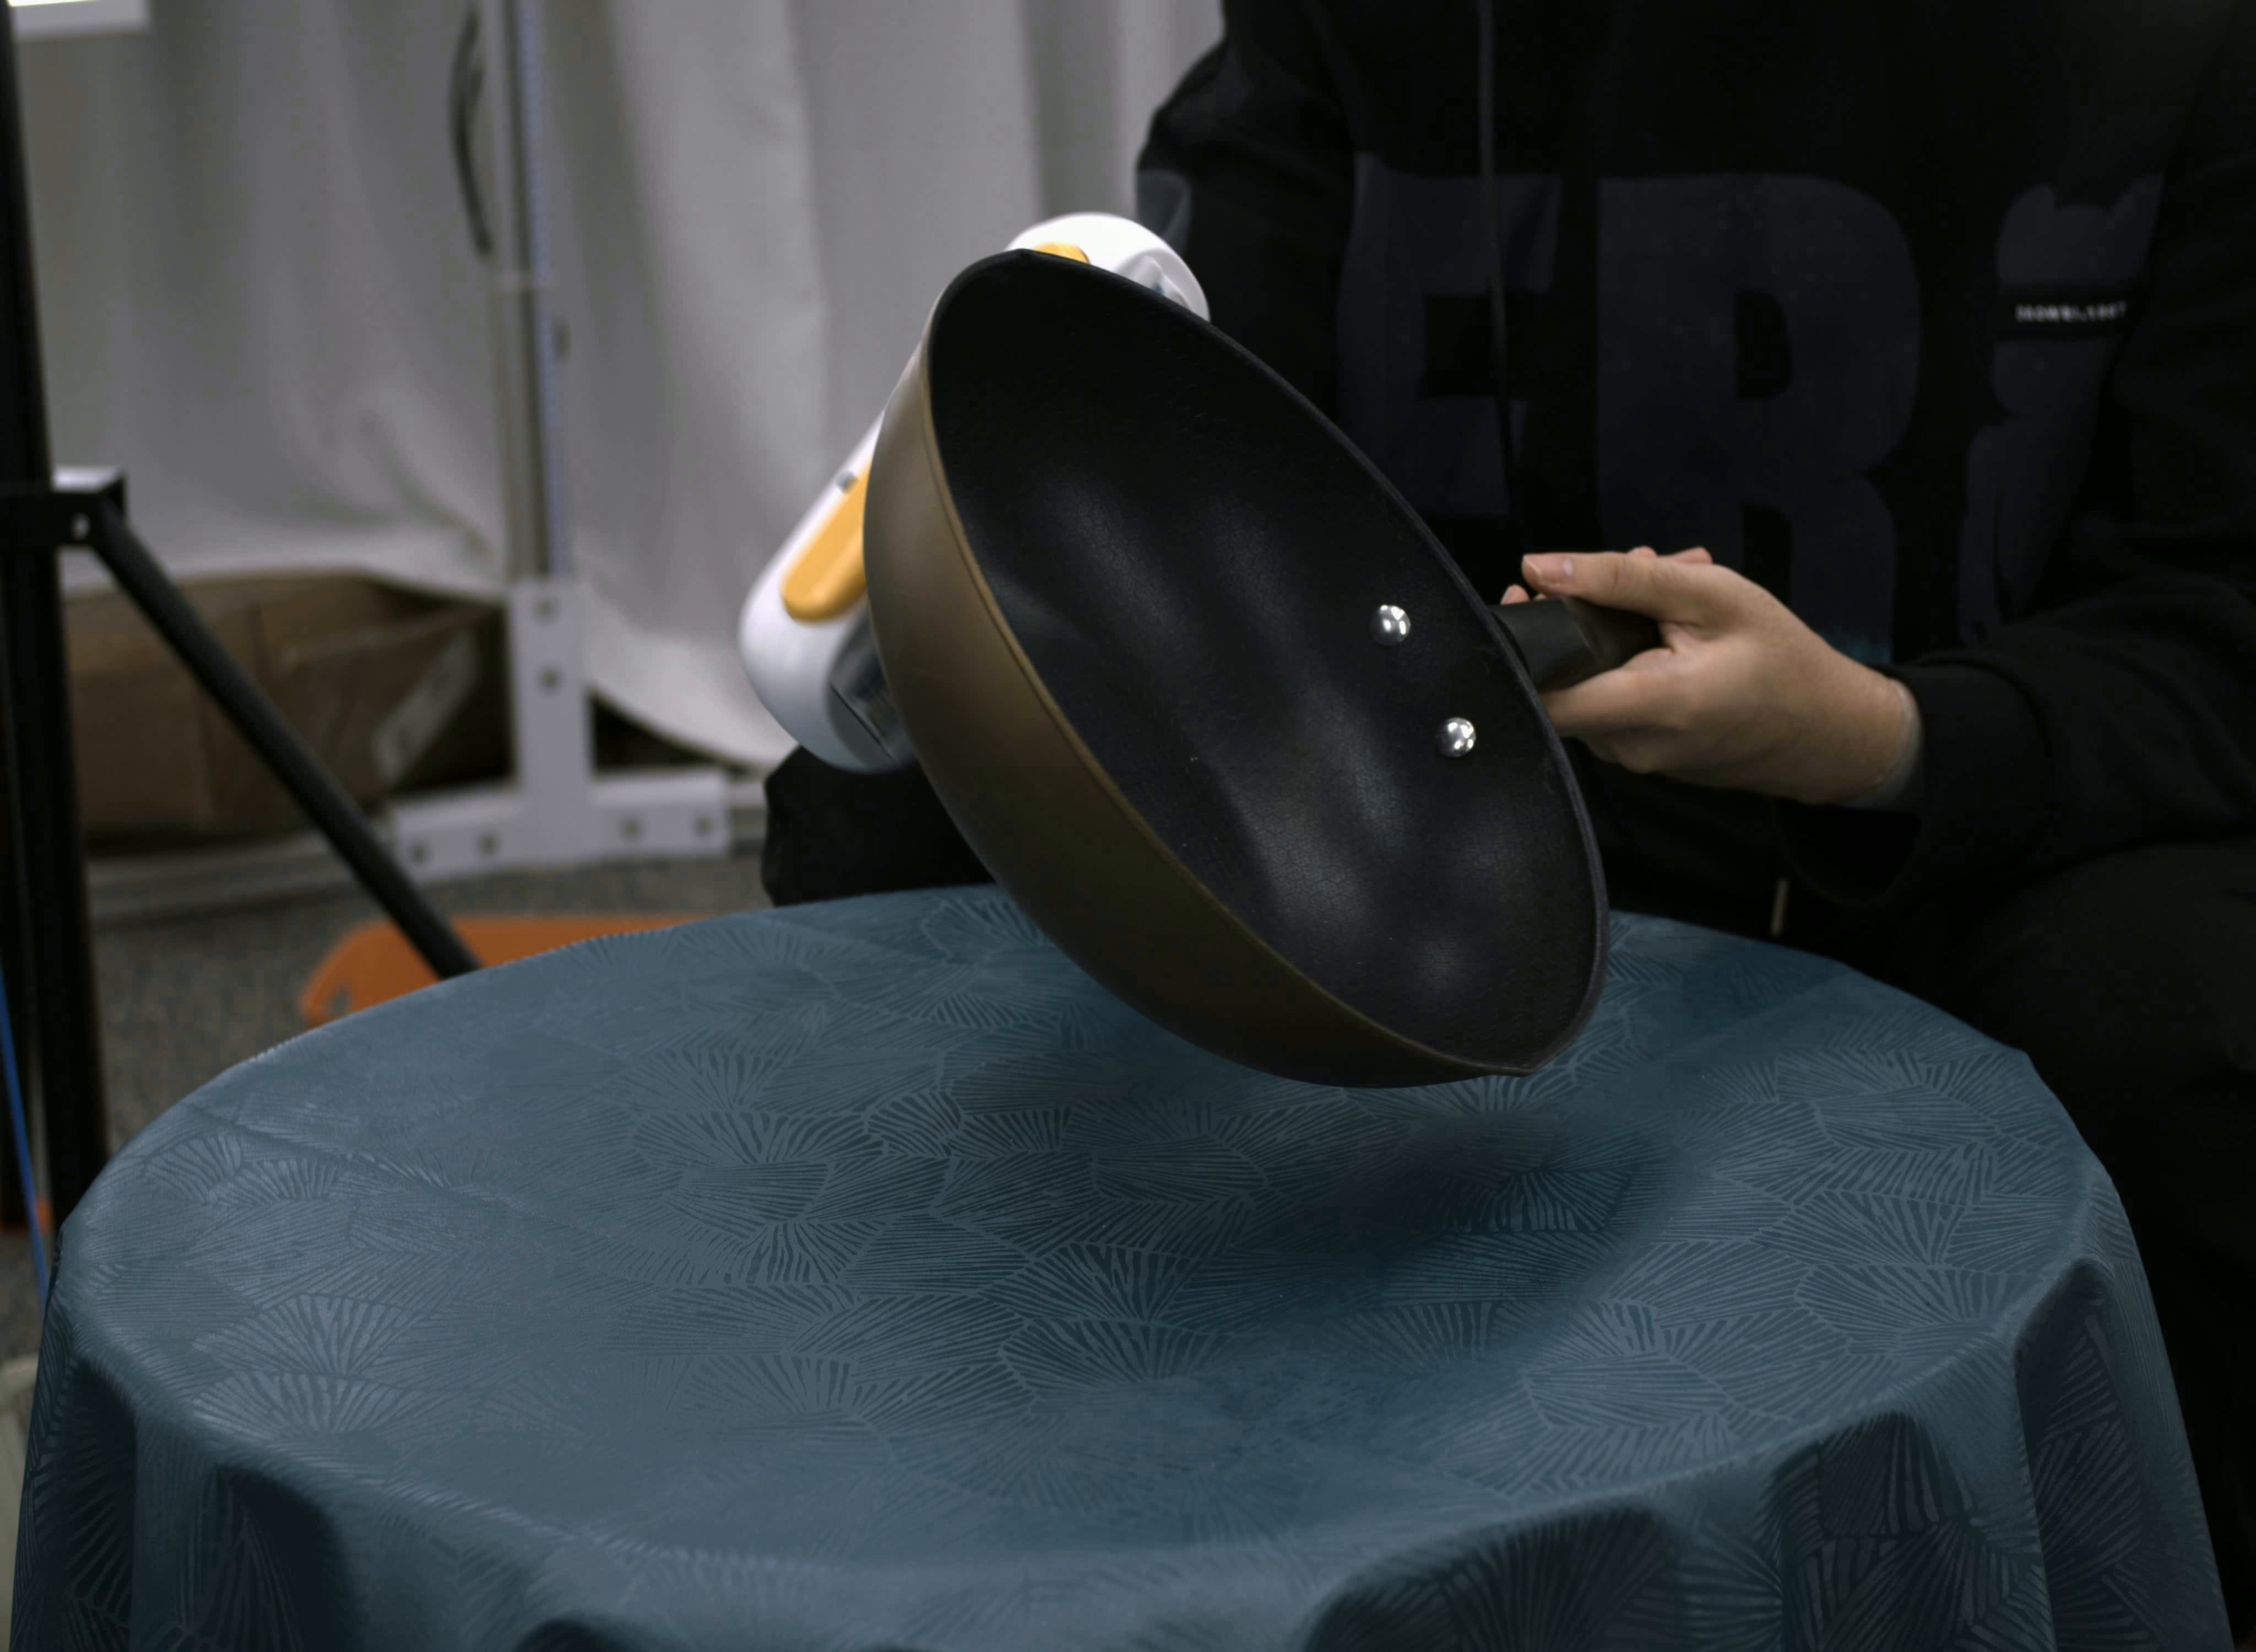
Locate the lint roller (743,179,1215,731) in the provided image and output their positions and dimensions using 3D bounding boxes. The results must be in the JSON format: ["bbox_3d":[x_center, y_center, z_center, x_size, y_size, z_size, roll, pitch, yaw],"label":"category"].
[{"bbox_3d":[-0.037,-0.086,1.686,0.075,0.189,0.192,23,68,29],"label":"lint roller"}]

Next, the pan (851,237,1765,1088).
[{"bbox_3d":[0.062,-0.037,1.618,0.088,0.292,0.453,-39,-17,28],"label":"pan"}]
